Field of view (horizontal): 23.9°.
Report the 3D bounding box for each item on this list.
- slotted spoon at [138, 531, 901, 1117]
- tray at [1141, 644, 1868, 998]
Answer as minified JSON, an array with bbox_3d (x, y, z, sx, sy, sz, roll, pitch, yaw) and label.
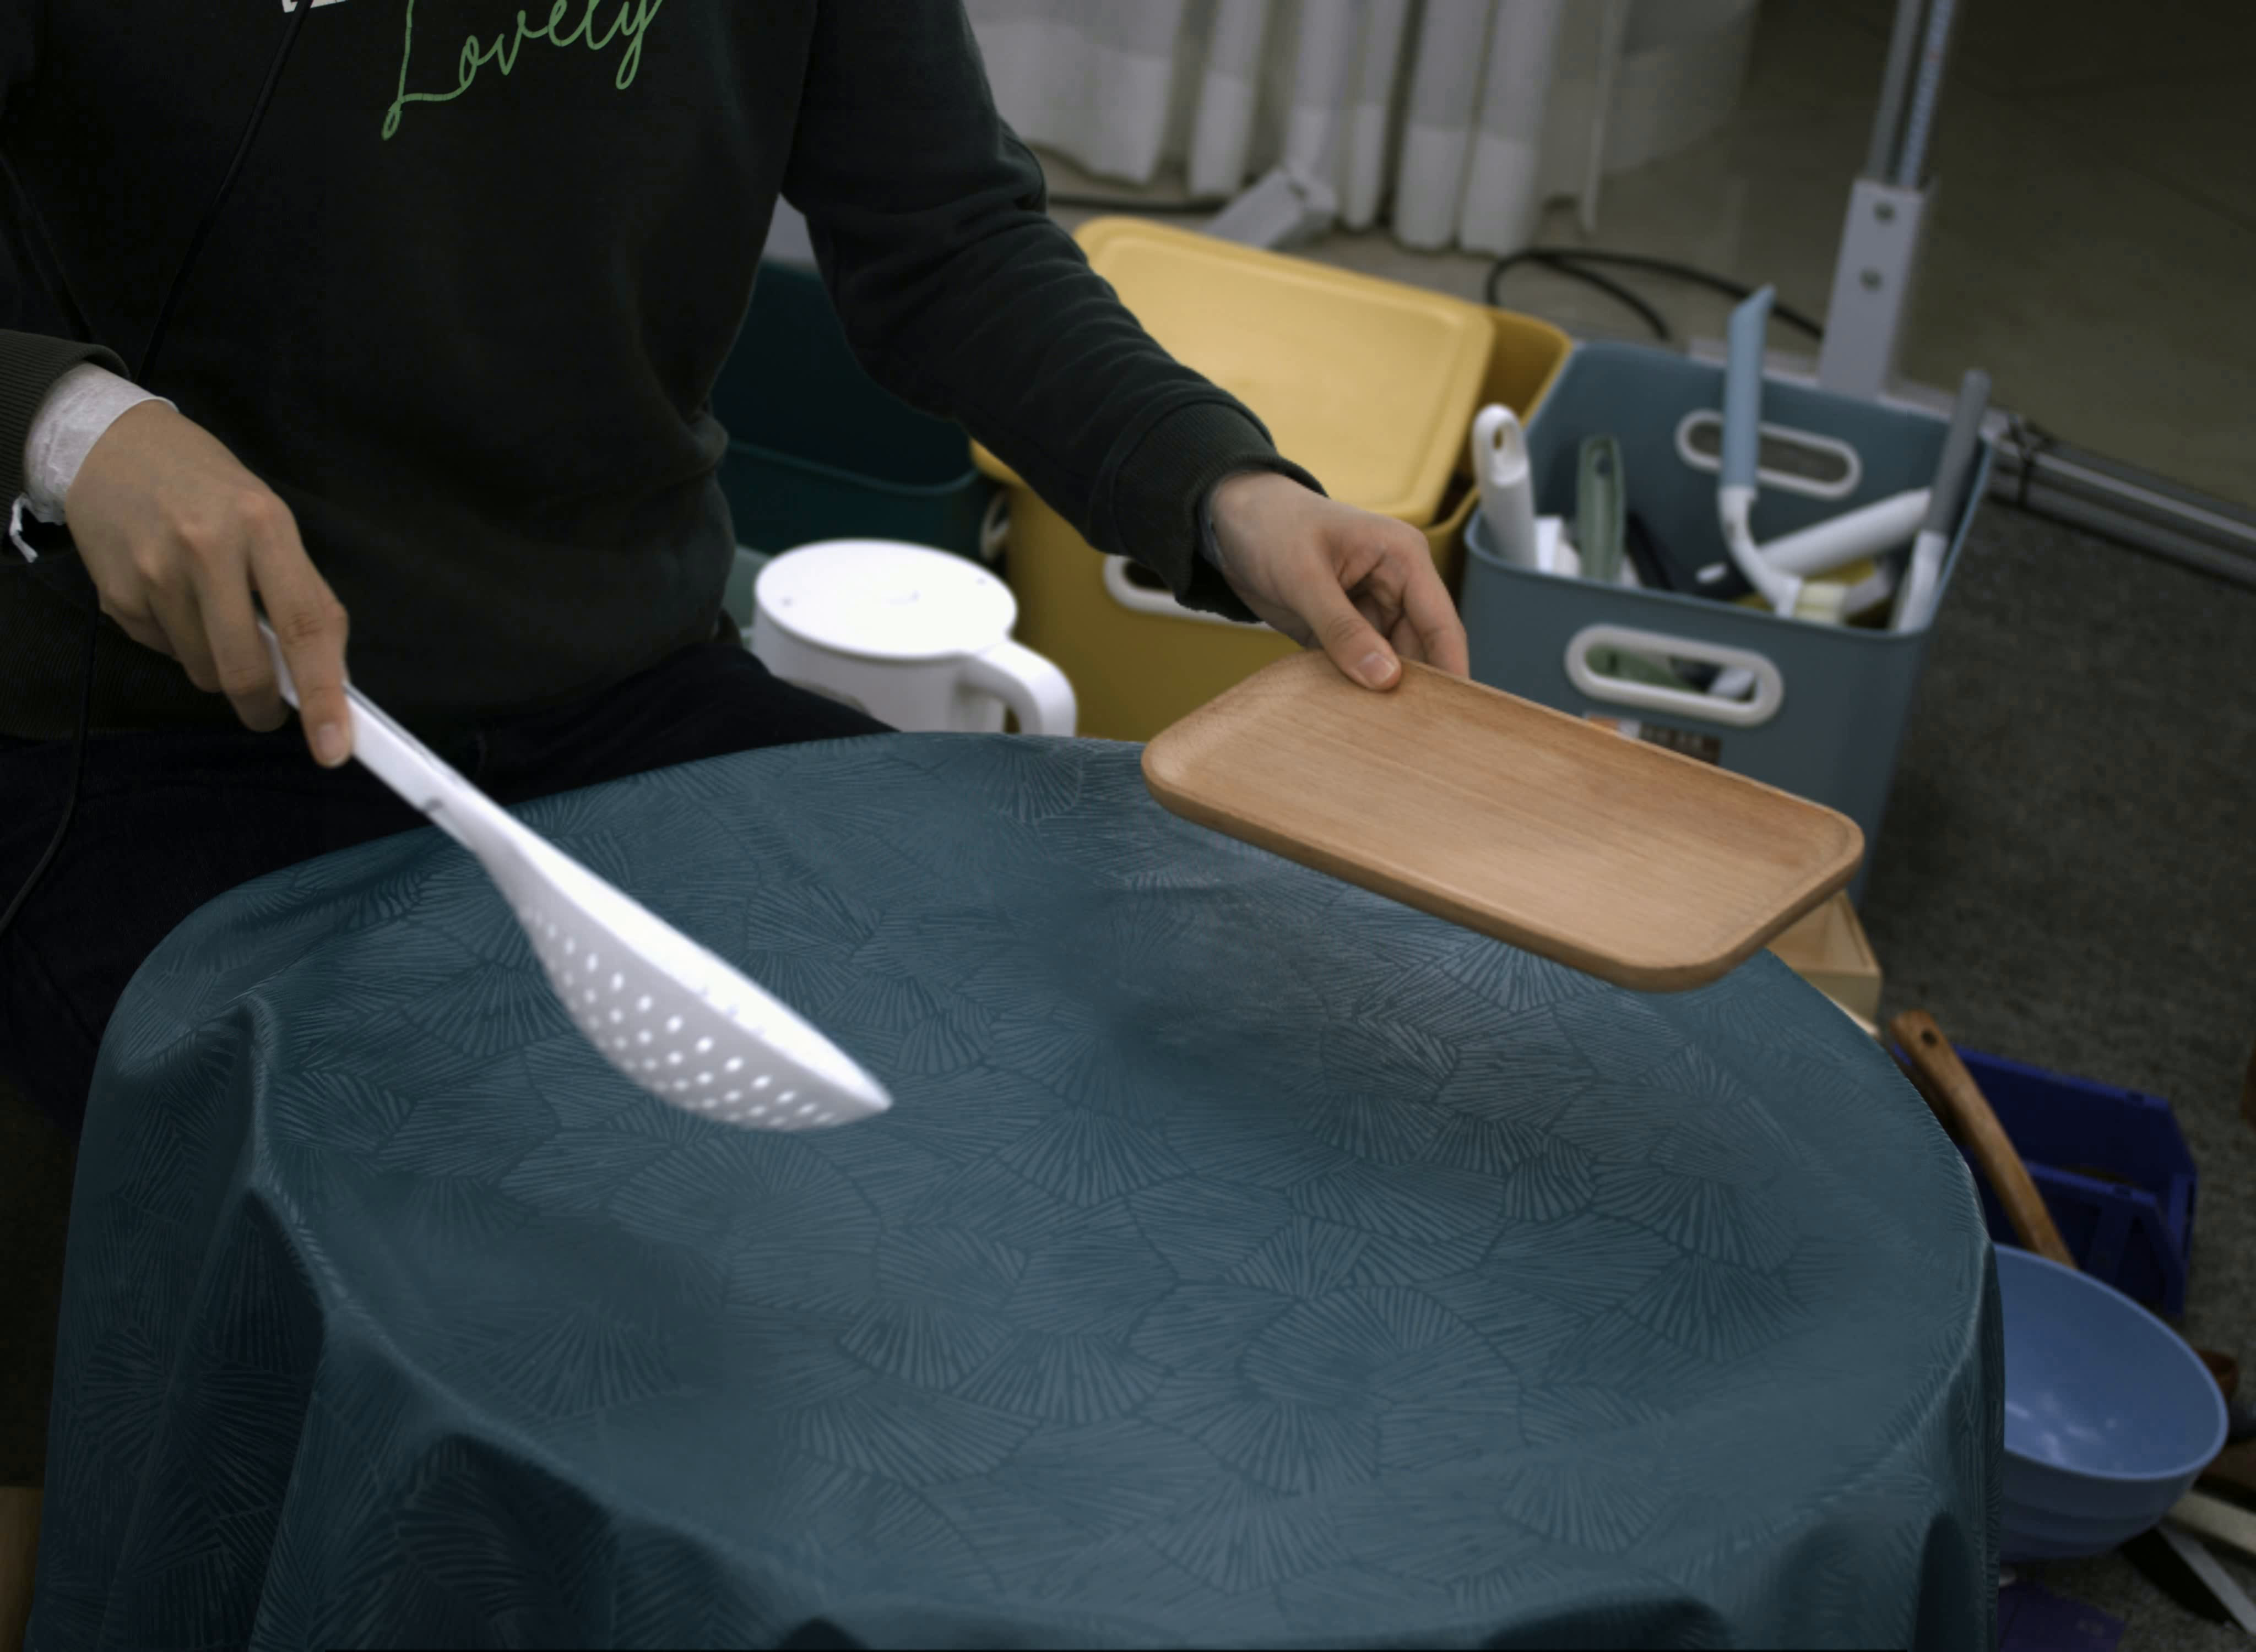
[{"bbox_3d":[-0.205,-0.005,1.697,0.352,0.046,0.135,41,3,32],"label":"slotted spoon"},{"bbox_3d":[0.129,-0.004,1.857,0.252,0.023,0.130,21,36,37],"label":"tray"}]
